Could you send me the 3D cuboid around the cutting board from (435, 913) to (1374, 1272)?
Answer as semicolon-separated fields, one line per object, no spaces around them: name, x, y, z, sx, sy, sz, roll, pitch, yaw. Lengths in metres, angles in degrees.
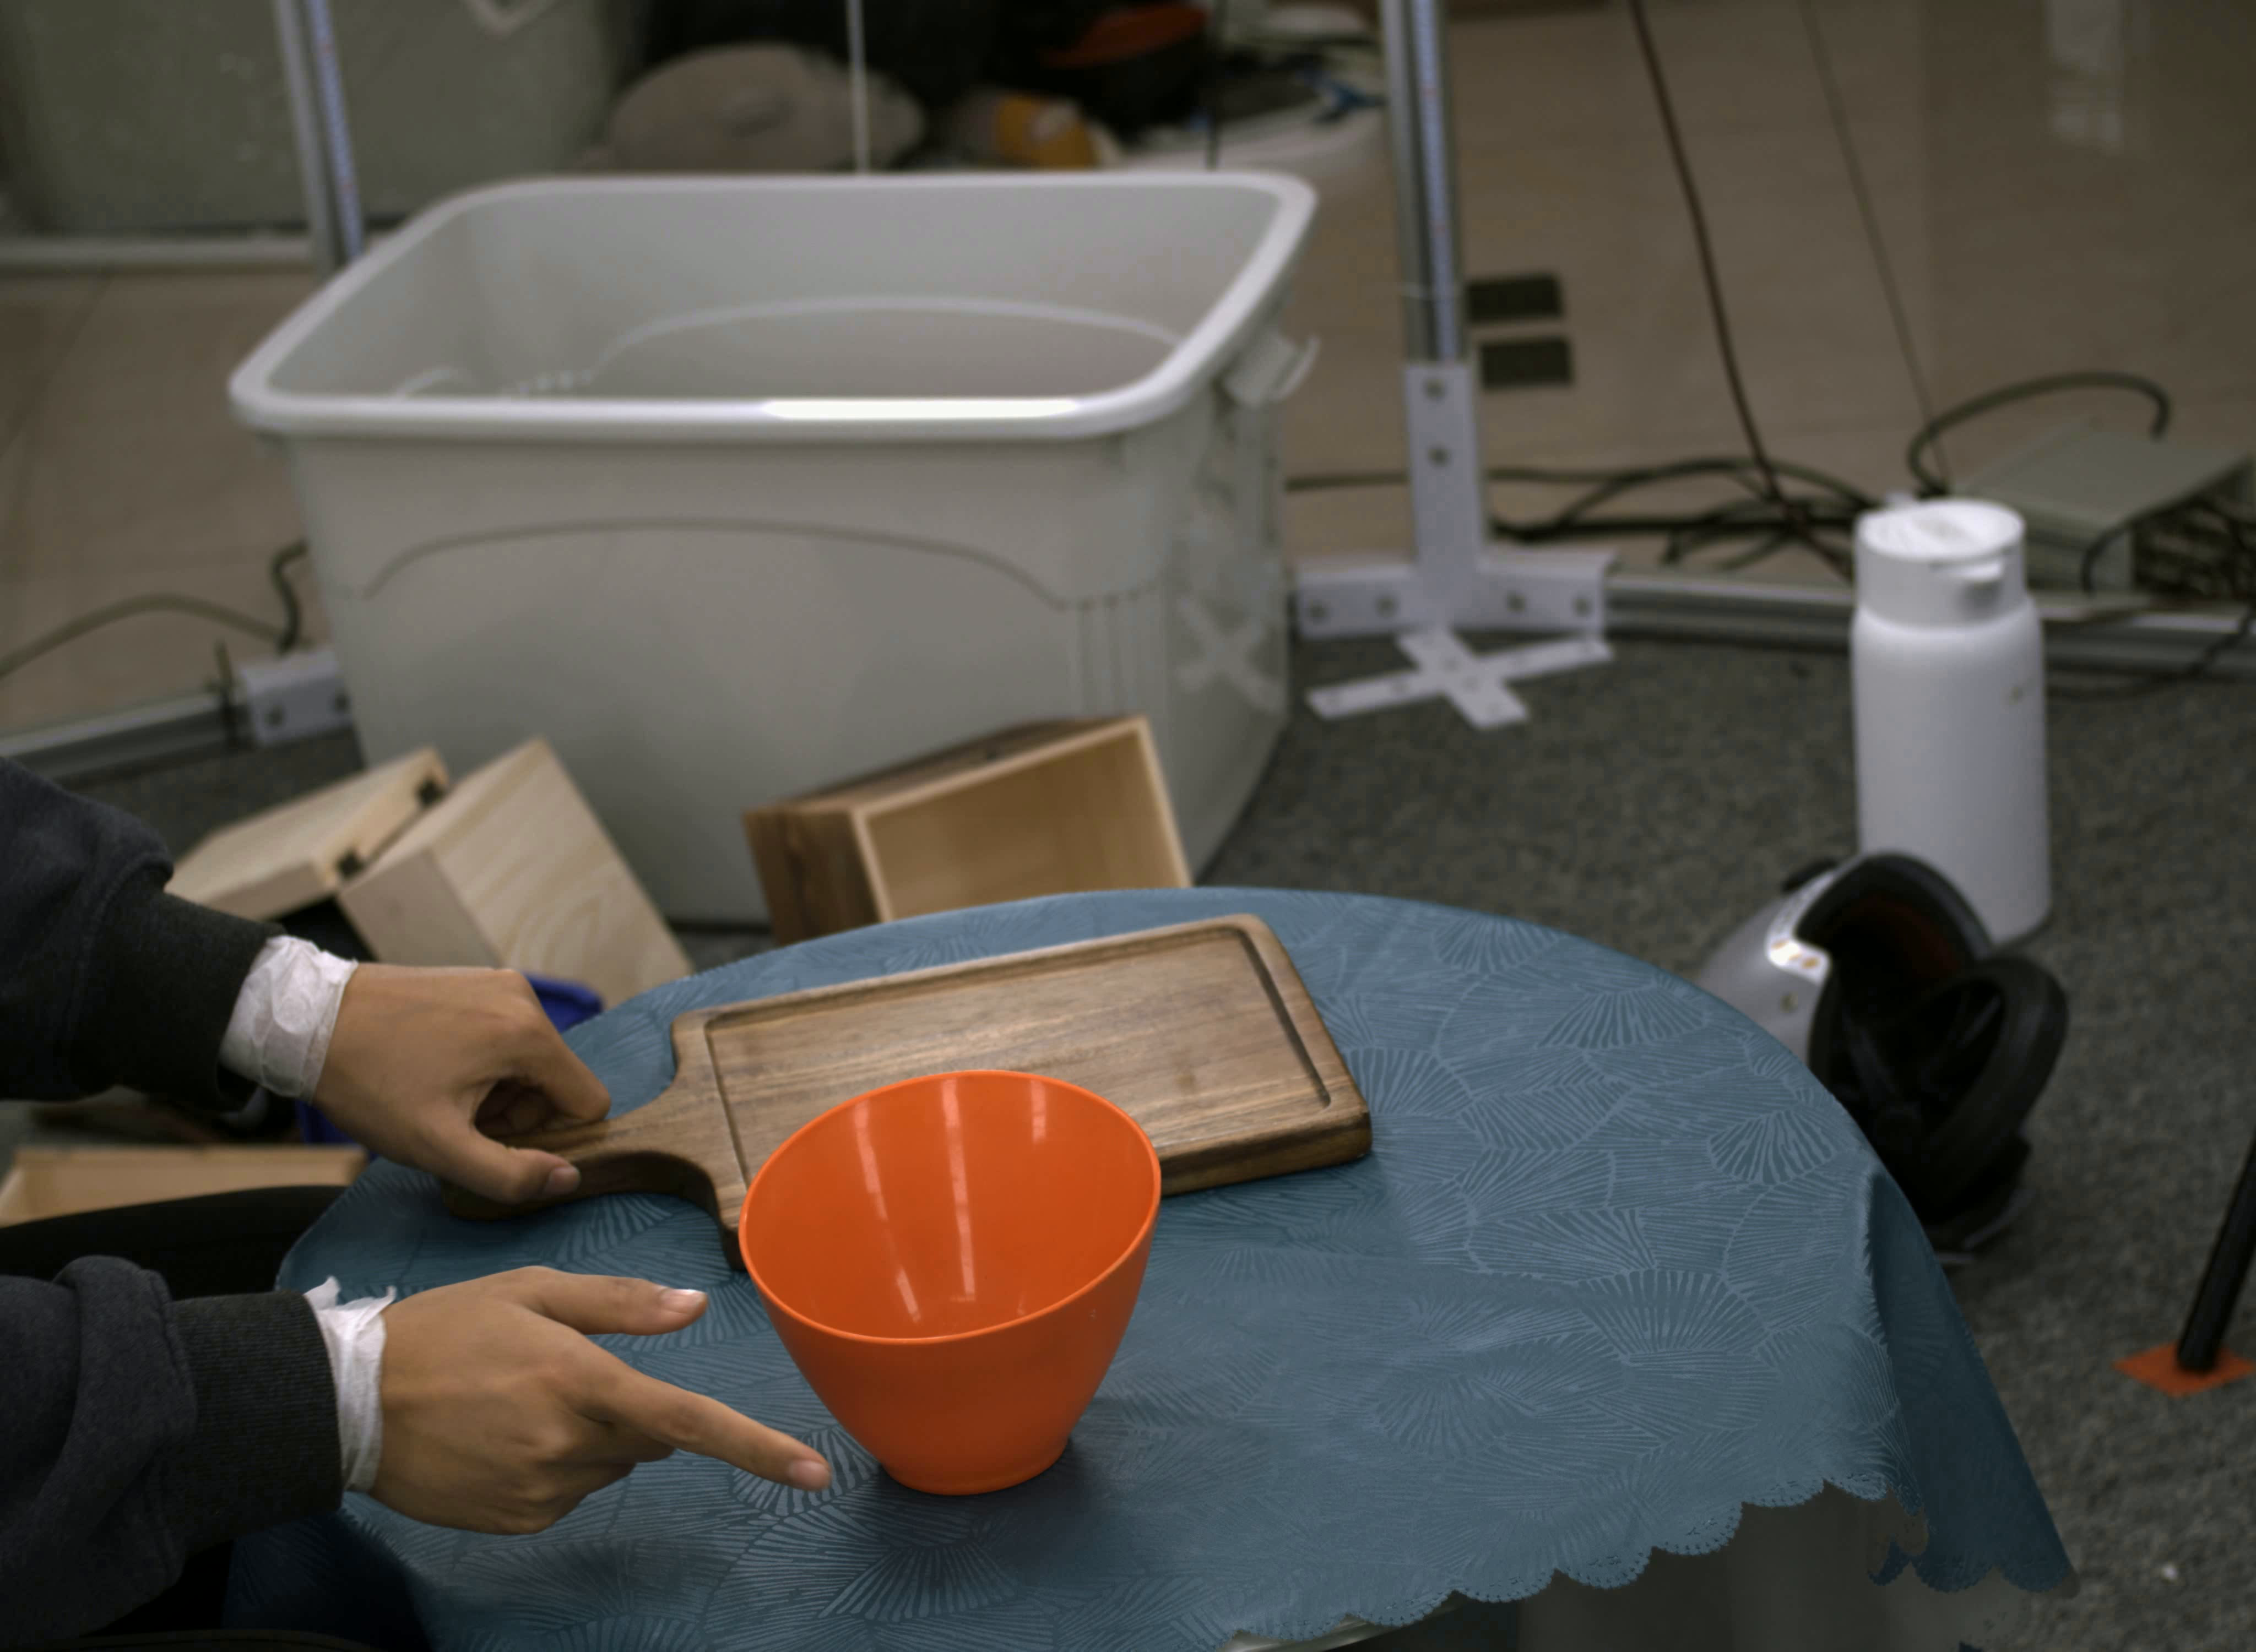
cutting board;-0.095;0.109;2.210;0.351;0.023;0.198;-10;25;-7

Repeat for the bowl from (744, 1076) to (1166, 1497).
bowl;-0.057;0.167;1.978;0.148;0.106;0.146;-4;25;2
